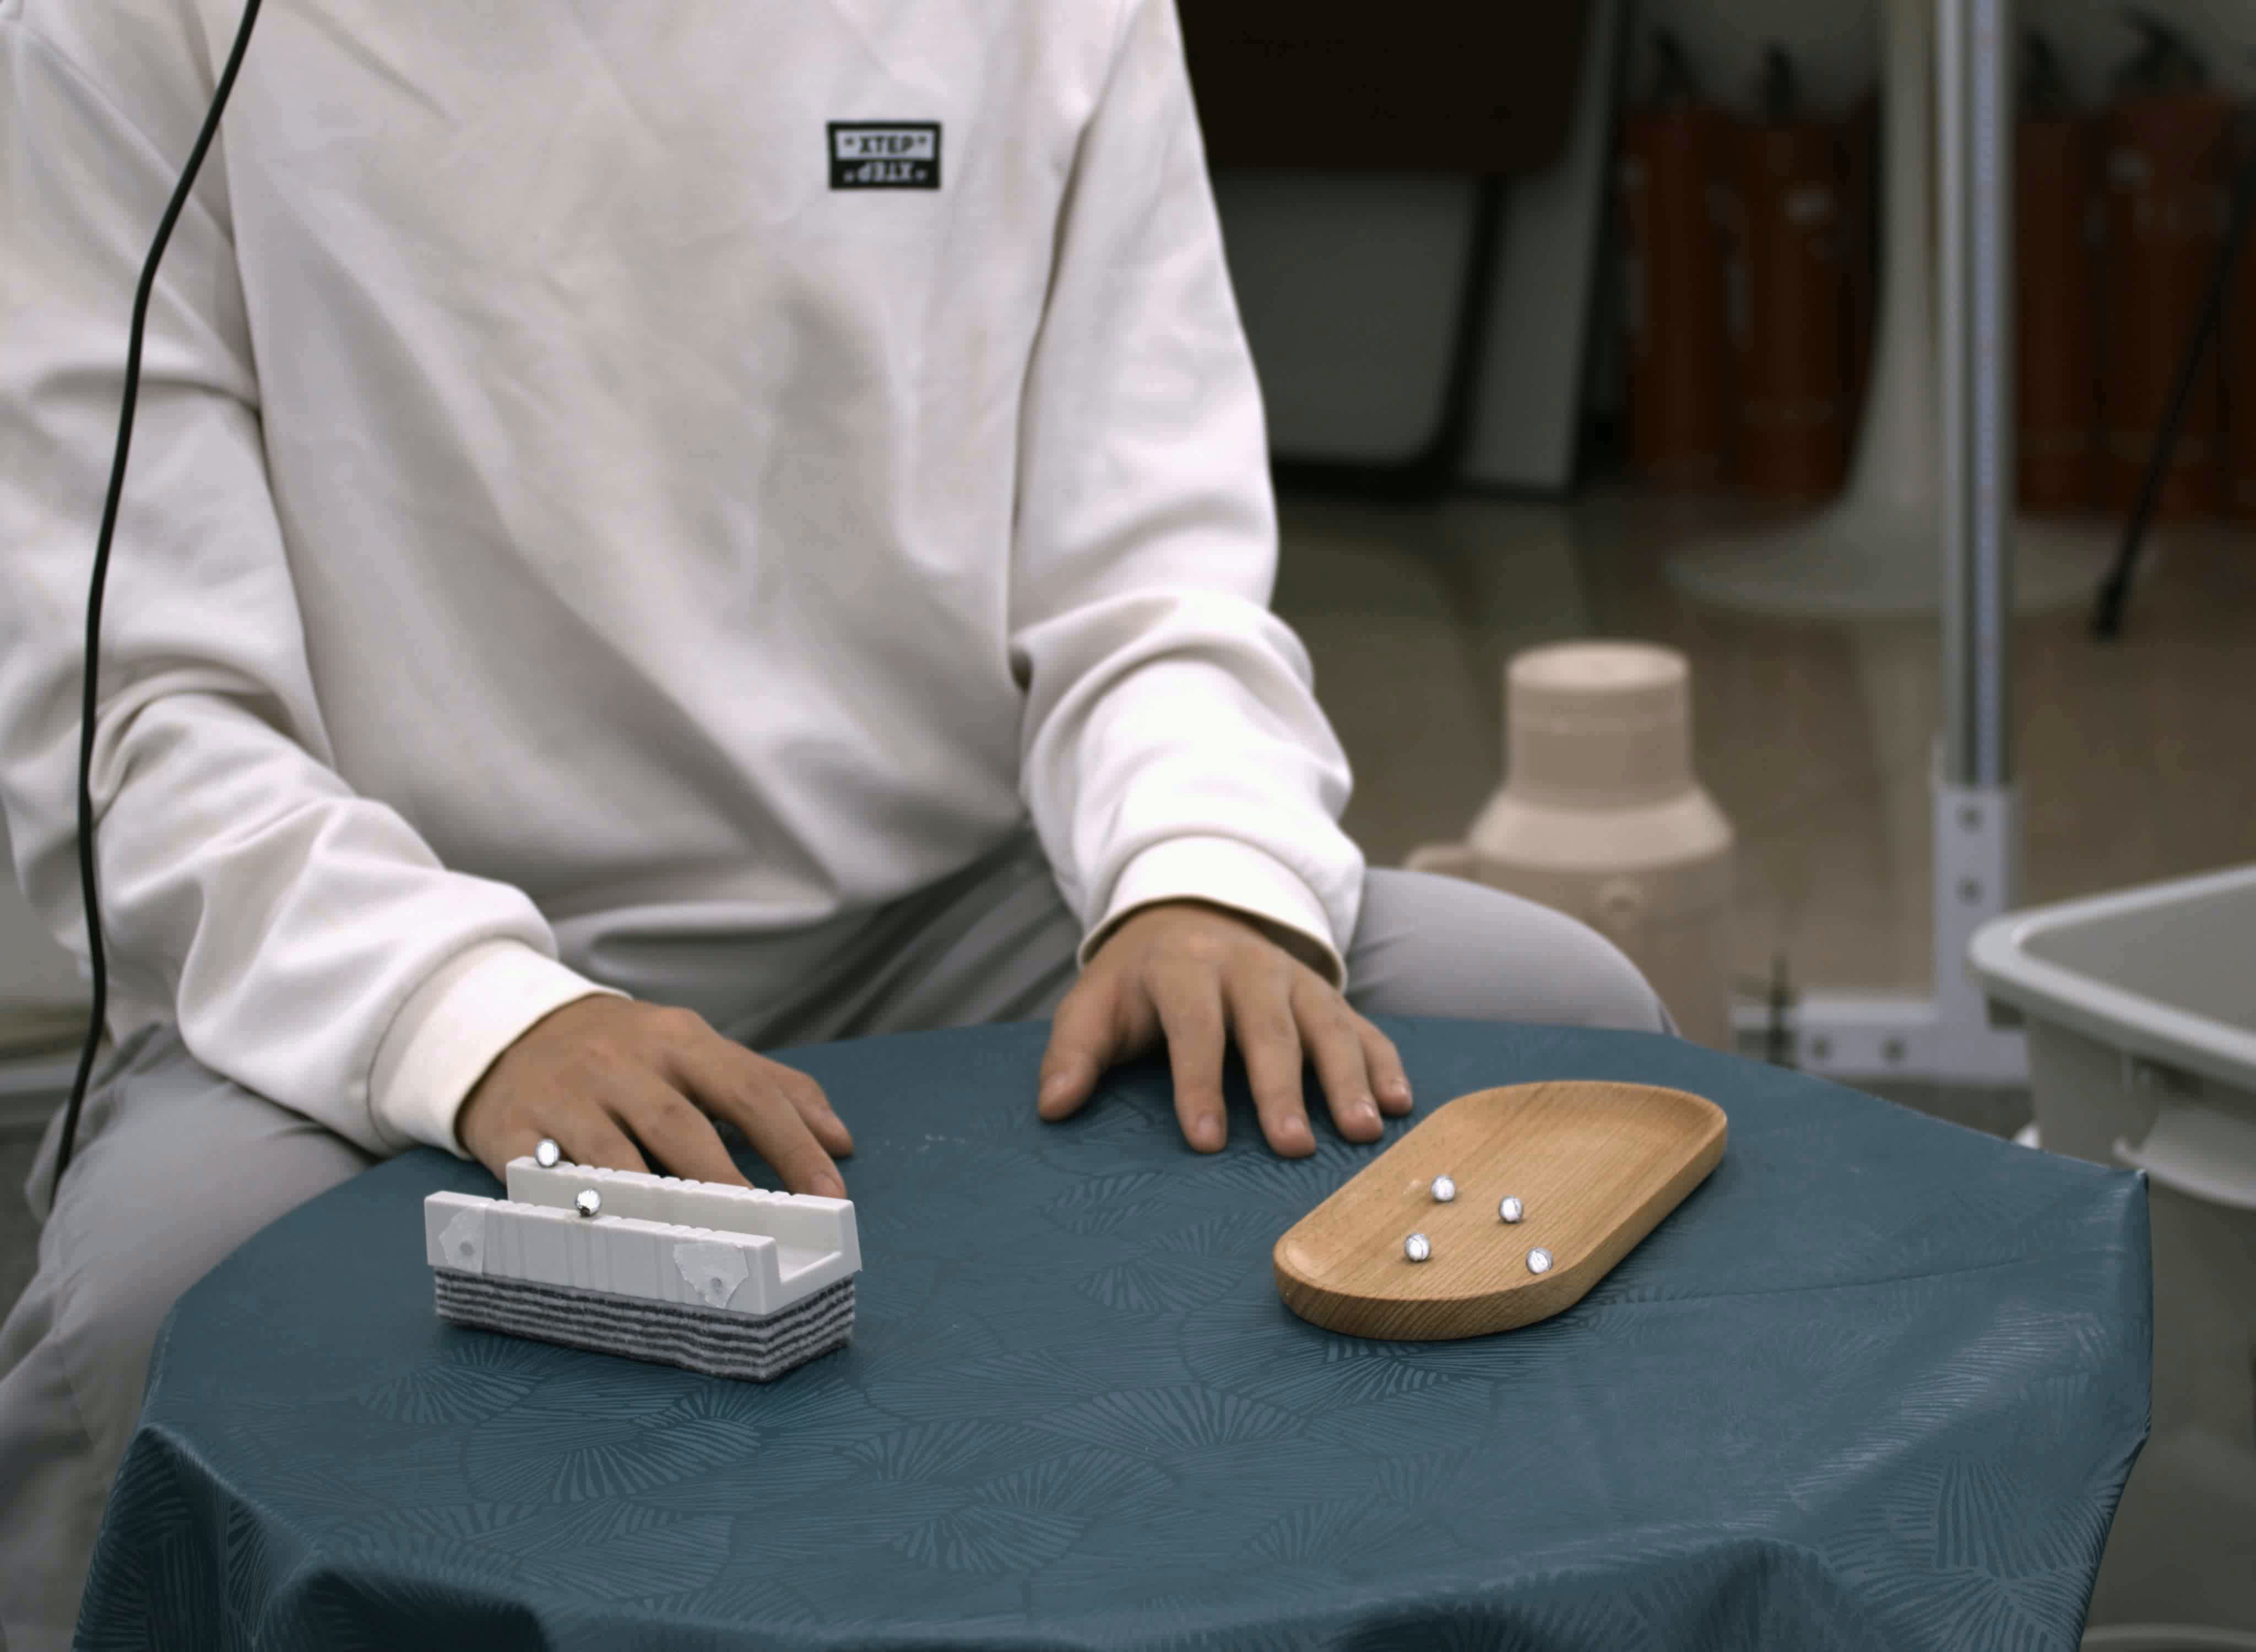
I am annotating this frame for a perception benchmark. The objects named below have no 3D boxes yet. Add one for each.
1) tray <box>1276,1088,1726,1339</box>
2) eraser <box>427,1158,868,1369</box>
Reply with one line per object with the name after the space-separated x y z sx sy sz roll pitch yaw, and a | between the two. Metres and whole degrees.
0.121 0.121 1.711 0.102 0.020 0.228 3 13 23 | tray
-0.147 0.135 1.659 0.135 0.047 0.049 4 10 32 | eraser
